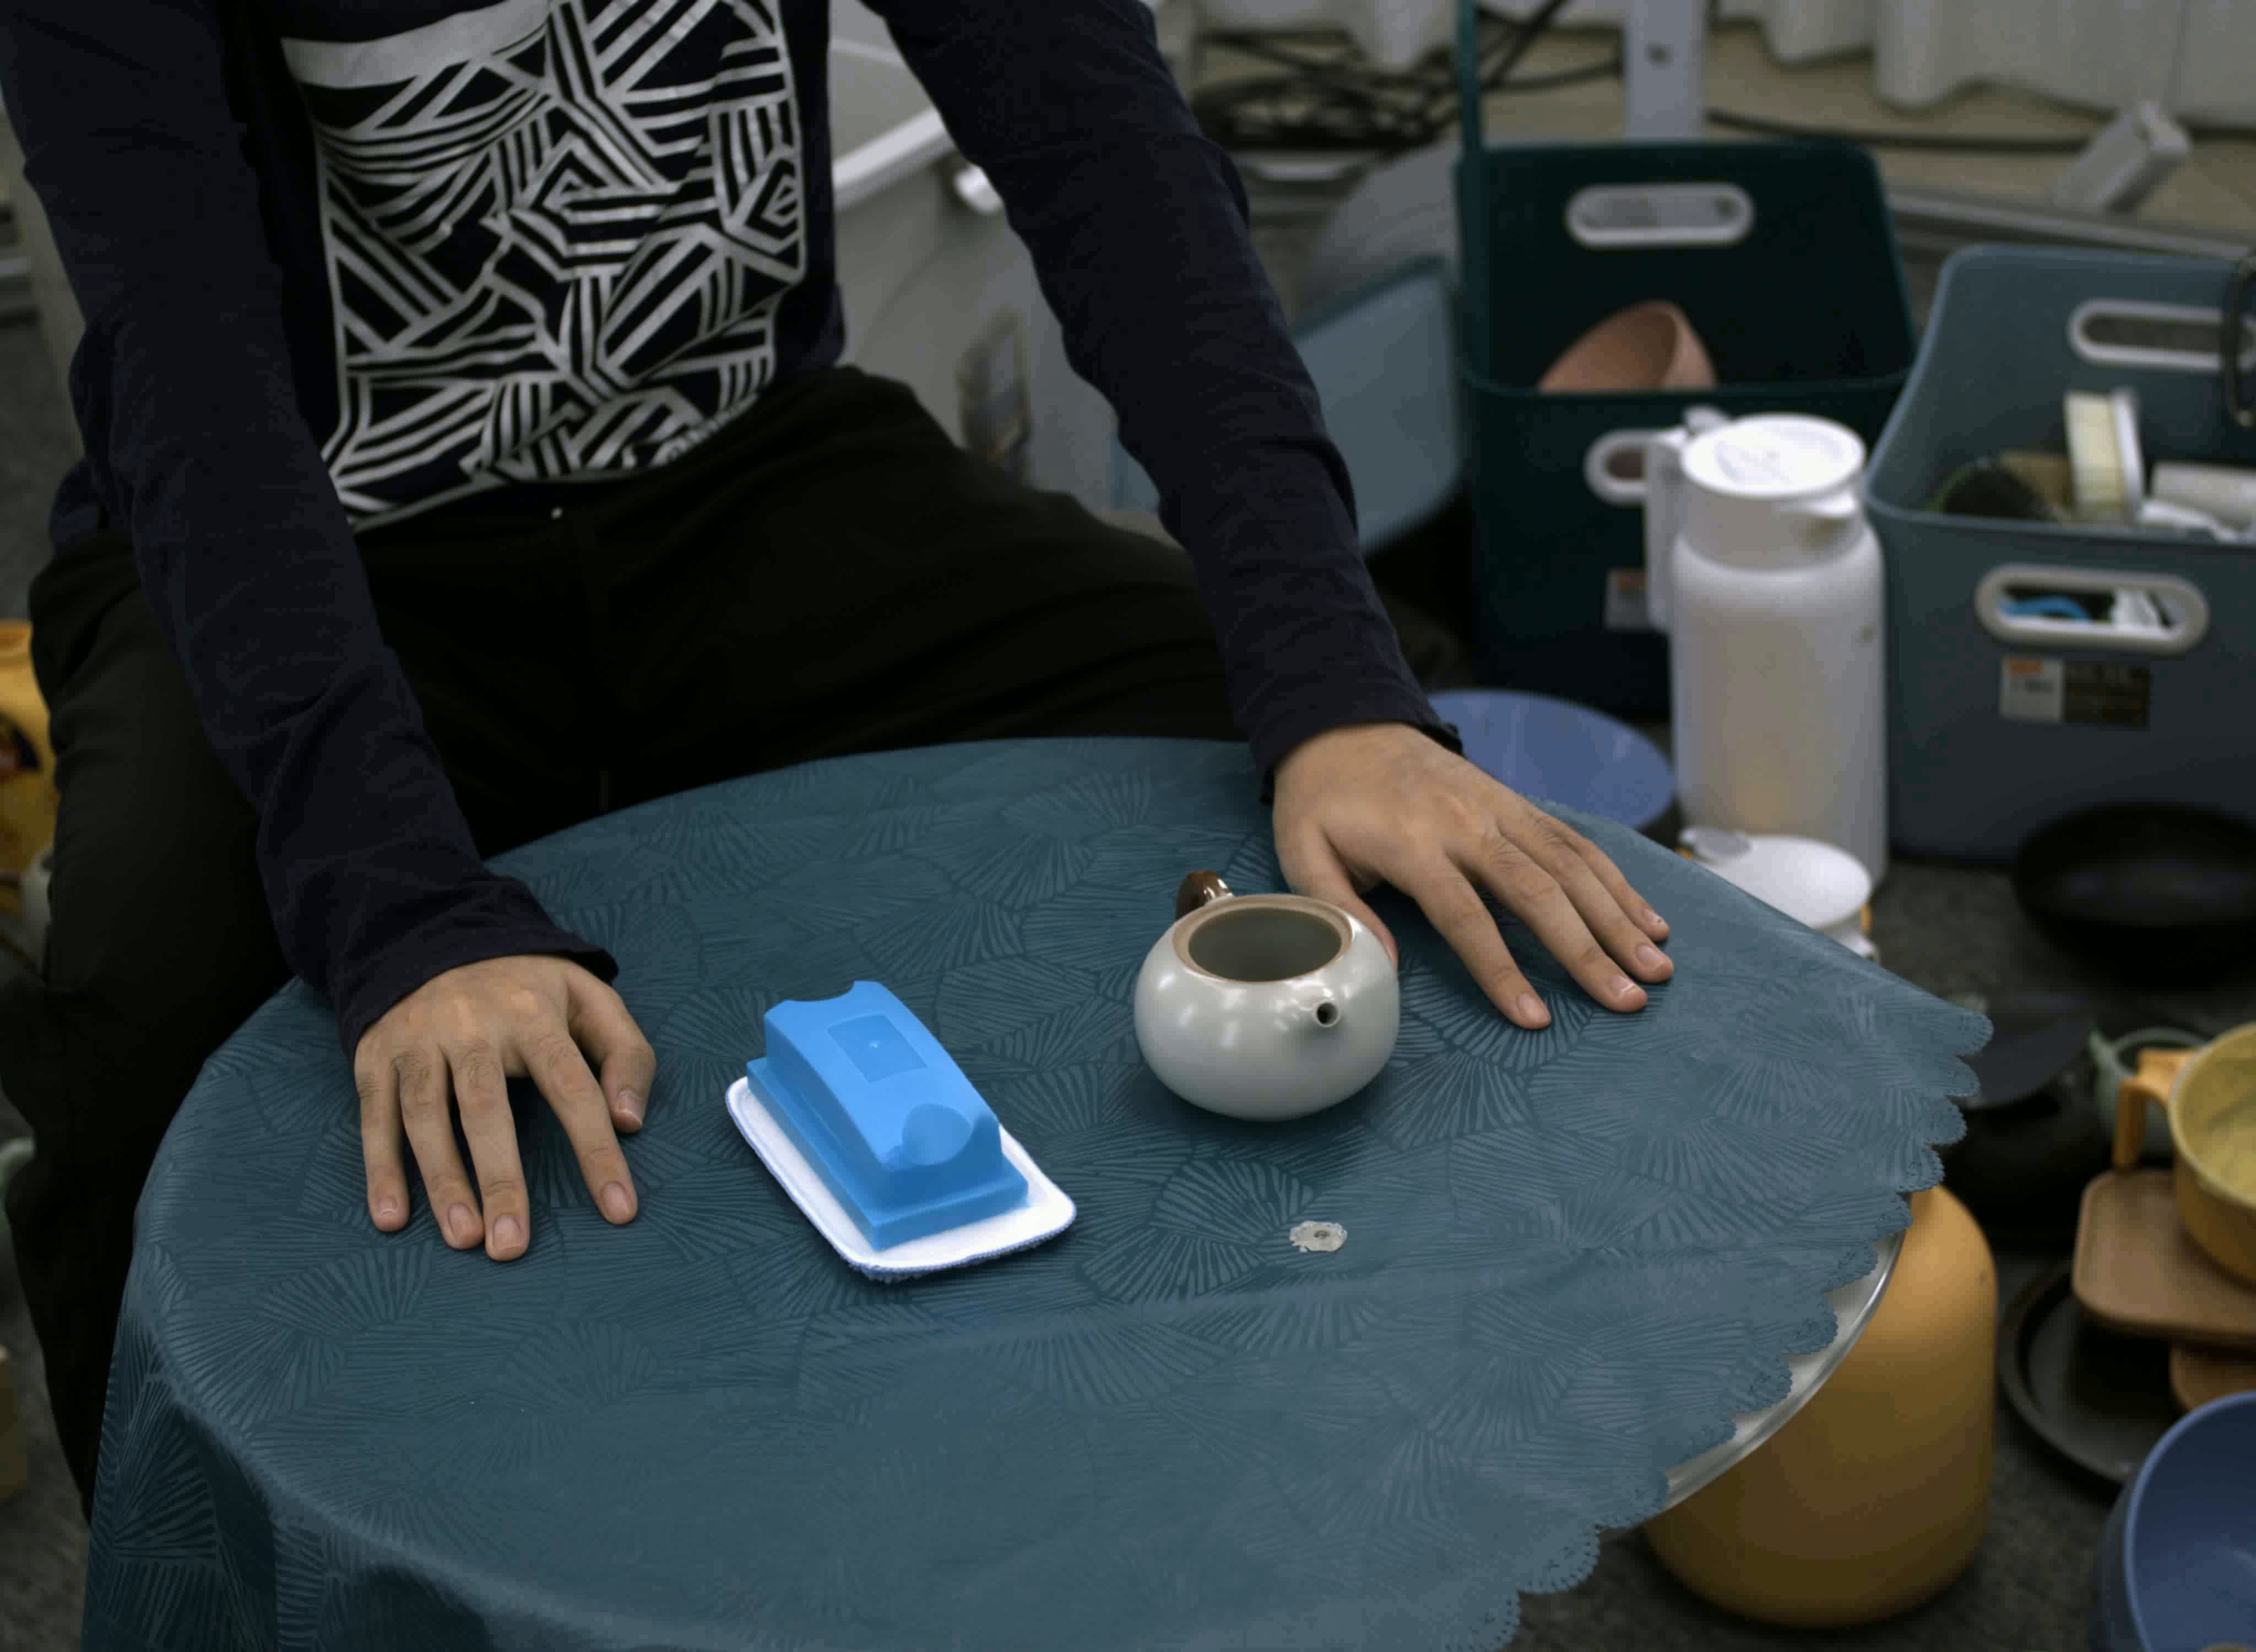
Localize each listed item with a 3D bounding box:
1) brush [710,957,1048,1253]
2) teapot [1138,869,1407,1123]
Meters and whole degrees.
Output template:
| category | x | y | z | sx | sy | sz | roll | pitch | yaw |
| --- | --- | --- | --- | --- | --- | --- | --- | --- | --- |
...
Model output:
| category | x | y | z | sx | sy | sz | roll | pitch | yaw |
| --- | --- | --- | --- | --- | --- | --- | --- | --- | --- |
| brush | -0.083 | 0.088 | 1.866 | 0.084 | 0.055 | 0.145 | -10 | 30 | -19 |
| teapot | 0.045 | 0.058 | 1.914 | 0.092 | 0.059 | 0.129 | -17 | 31 | -20 |
